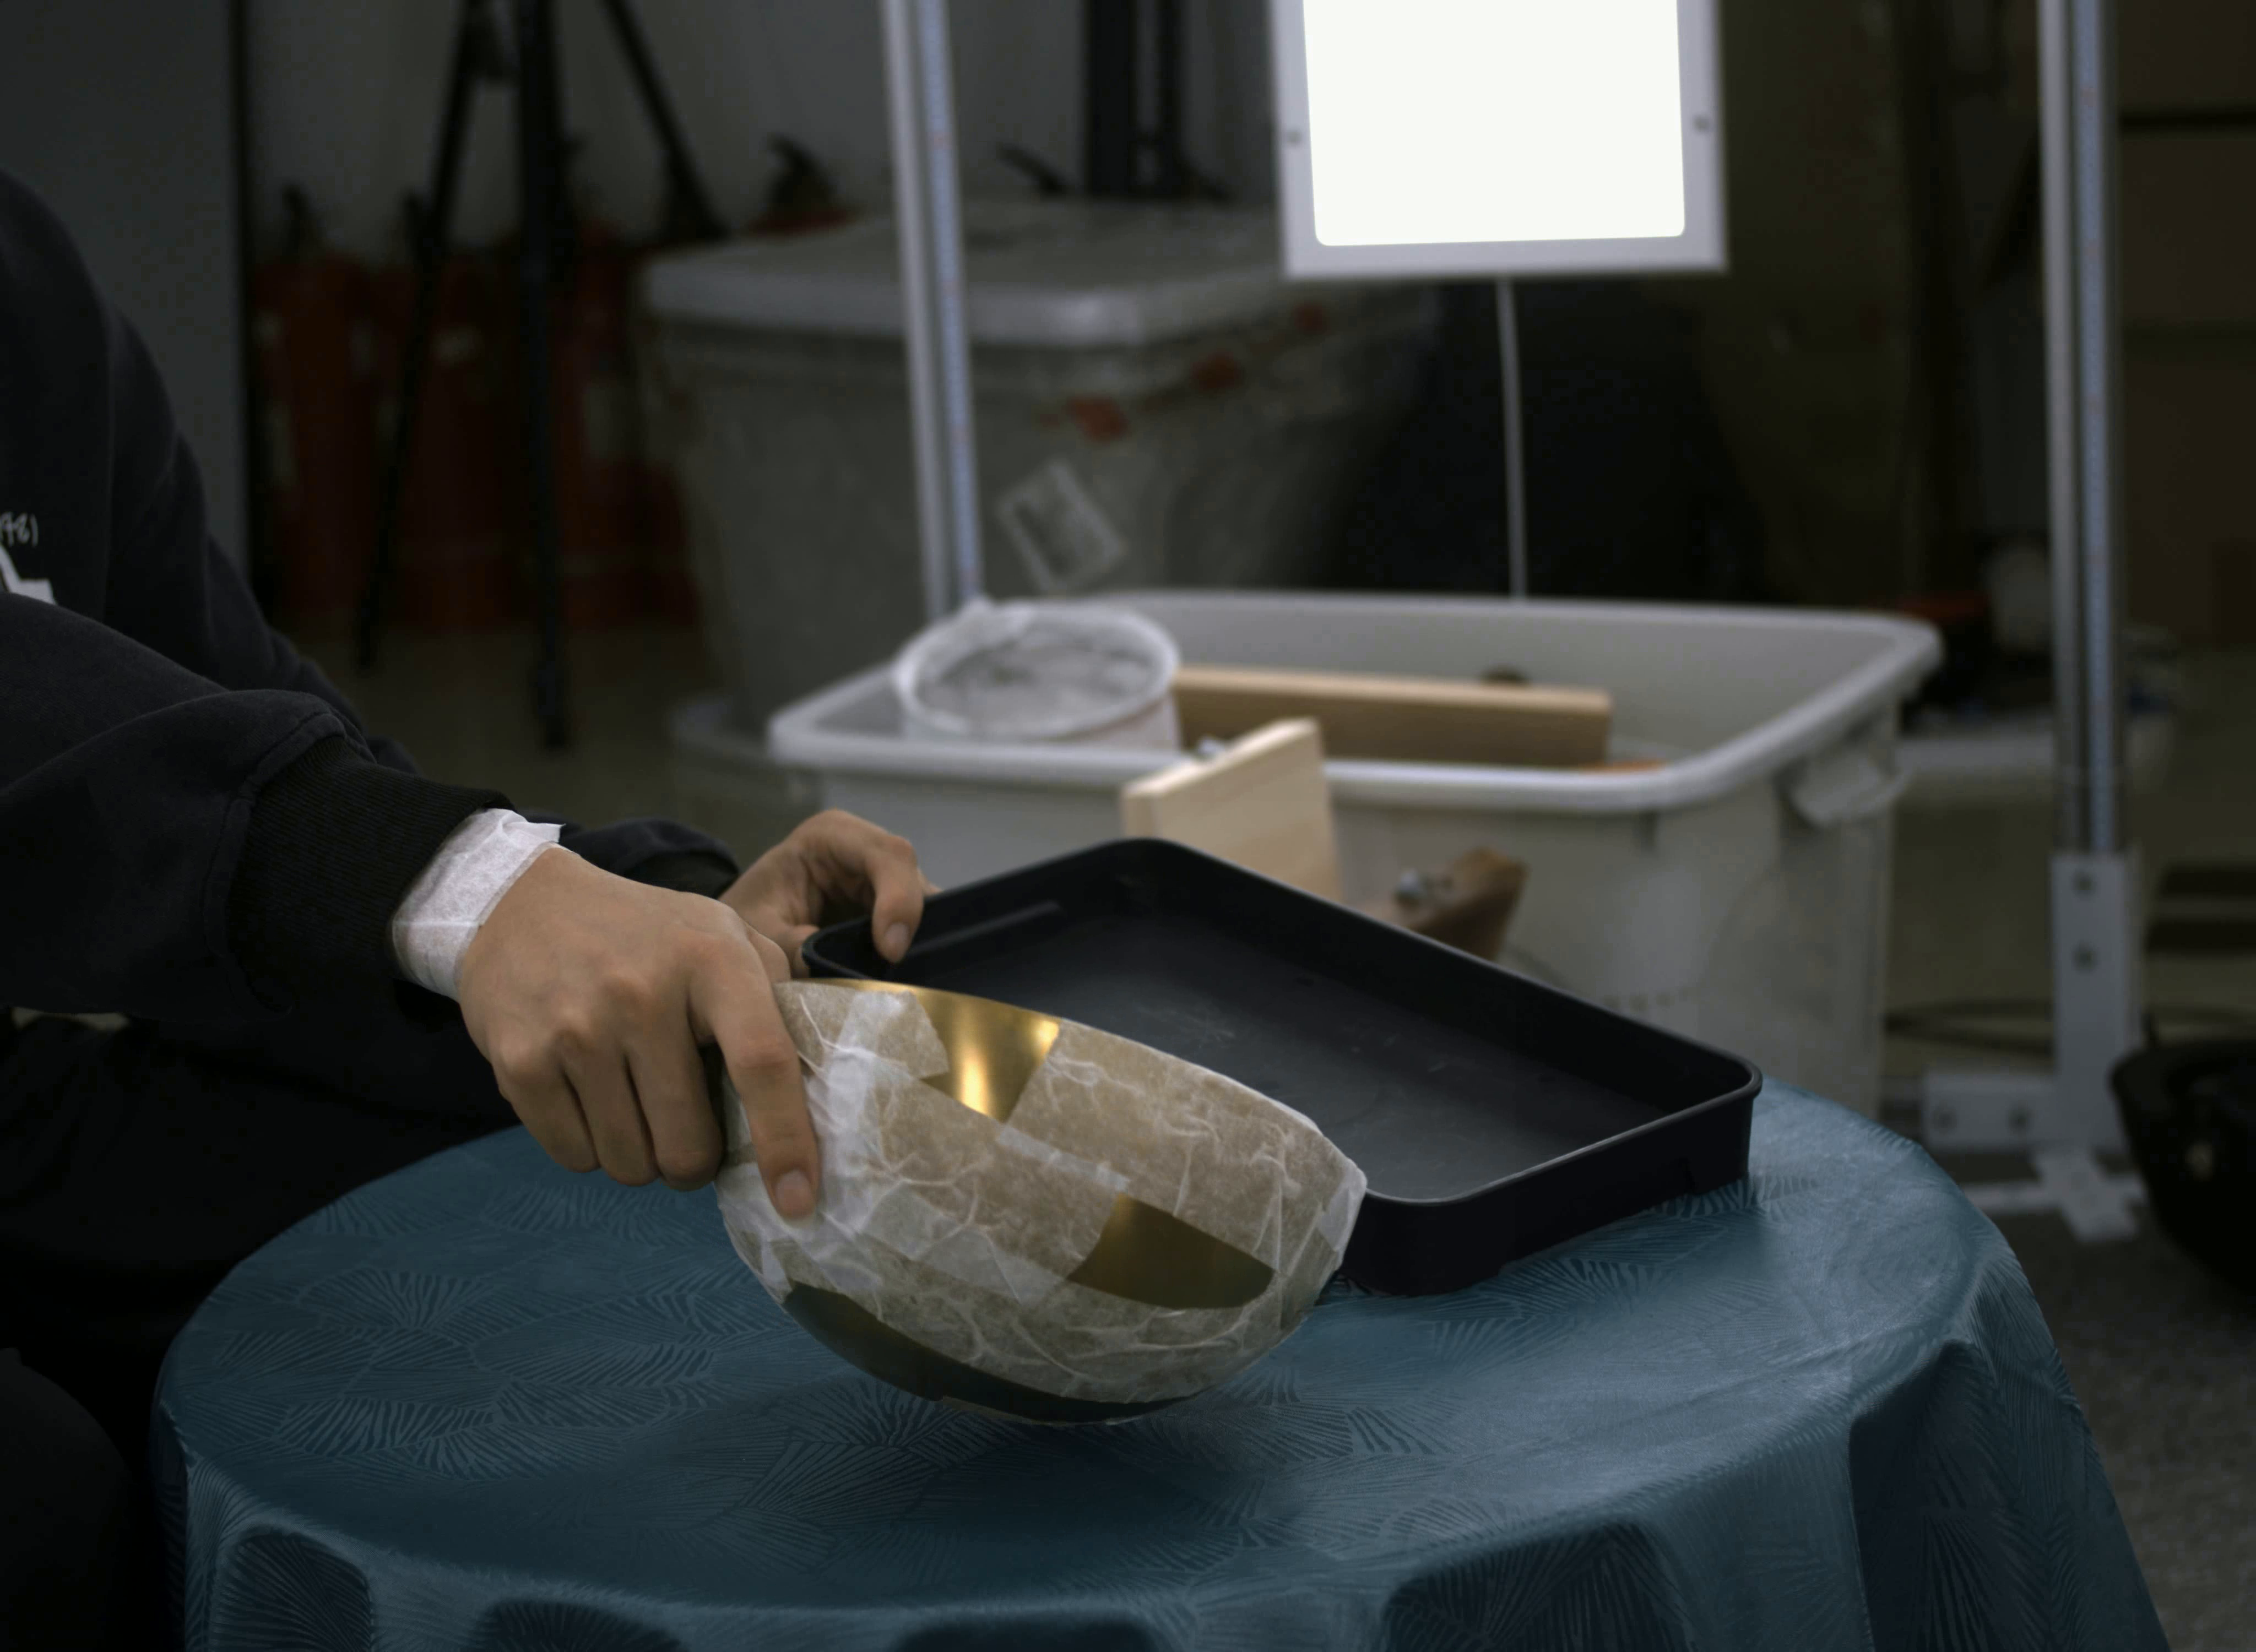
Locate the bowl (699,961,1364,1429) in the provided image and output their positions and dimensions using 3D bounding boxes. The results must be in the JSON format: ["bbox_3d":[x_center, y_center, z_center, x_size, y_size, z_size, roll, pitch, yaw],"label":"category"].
[{"bbox_3d":[-0.040,0.124,1.634,0.215,0.094,0.215,15,-18,3],"label":"bowl"}]

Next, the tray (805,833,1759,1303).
[{"bbox_3d":[0.049,0.078,1.912,0.179,0.037,0.324,-16,26,-39],"label":"tray"}]
